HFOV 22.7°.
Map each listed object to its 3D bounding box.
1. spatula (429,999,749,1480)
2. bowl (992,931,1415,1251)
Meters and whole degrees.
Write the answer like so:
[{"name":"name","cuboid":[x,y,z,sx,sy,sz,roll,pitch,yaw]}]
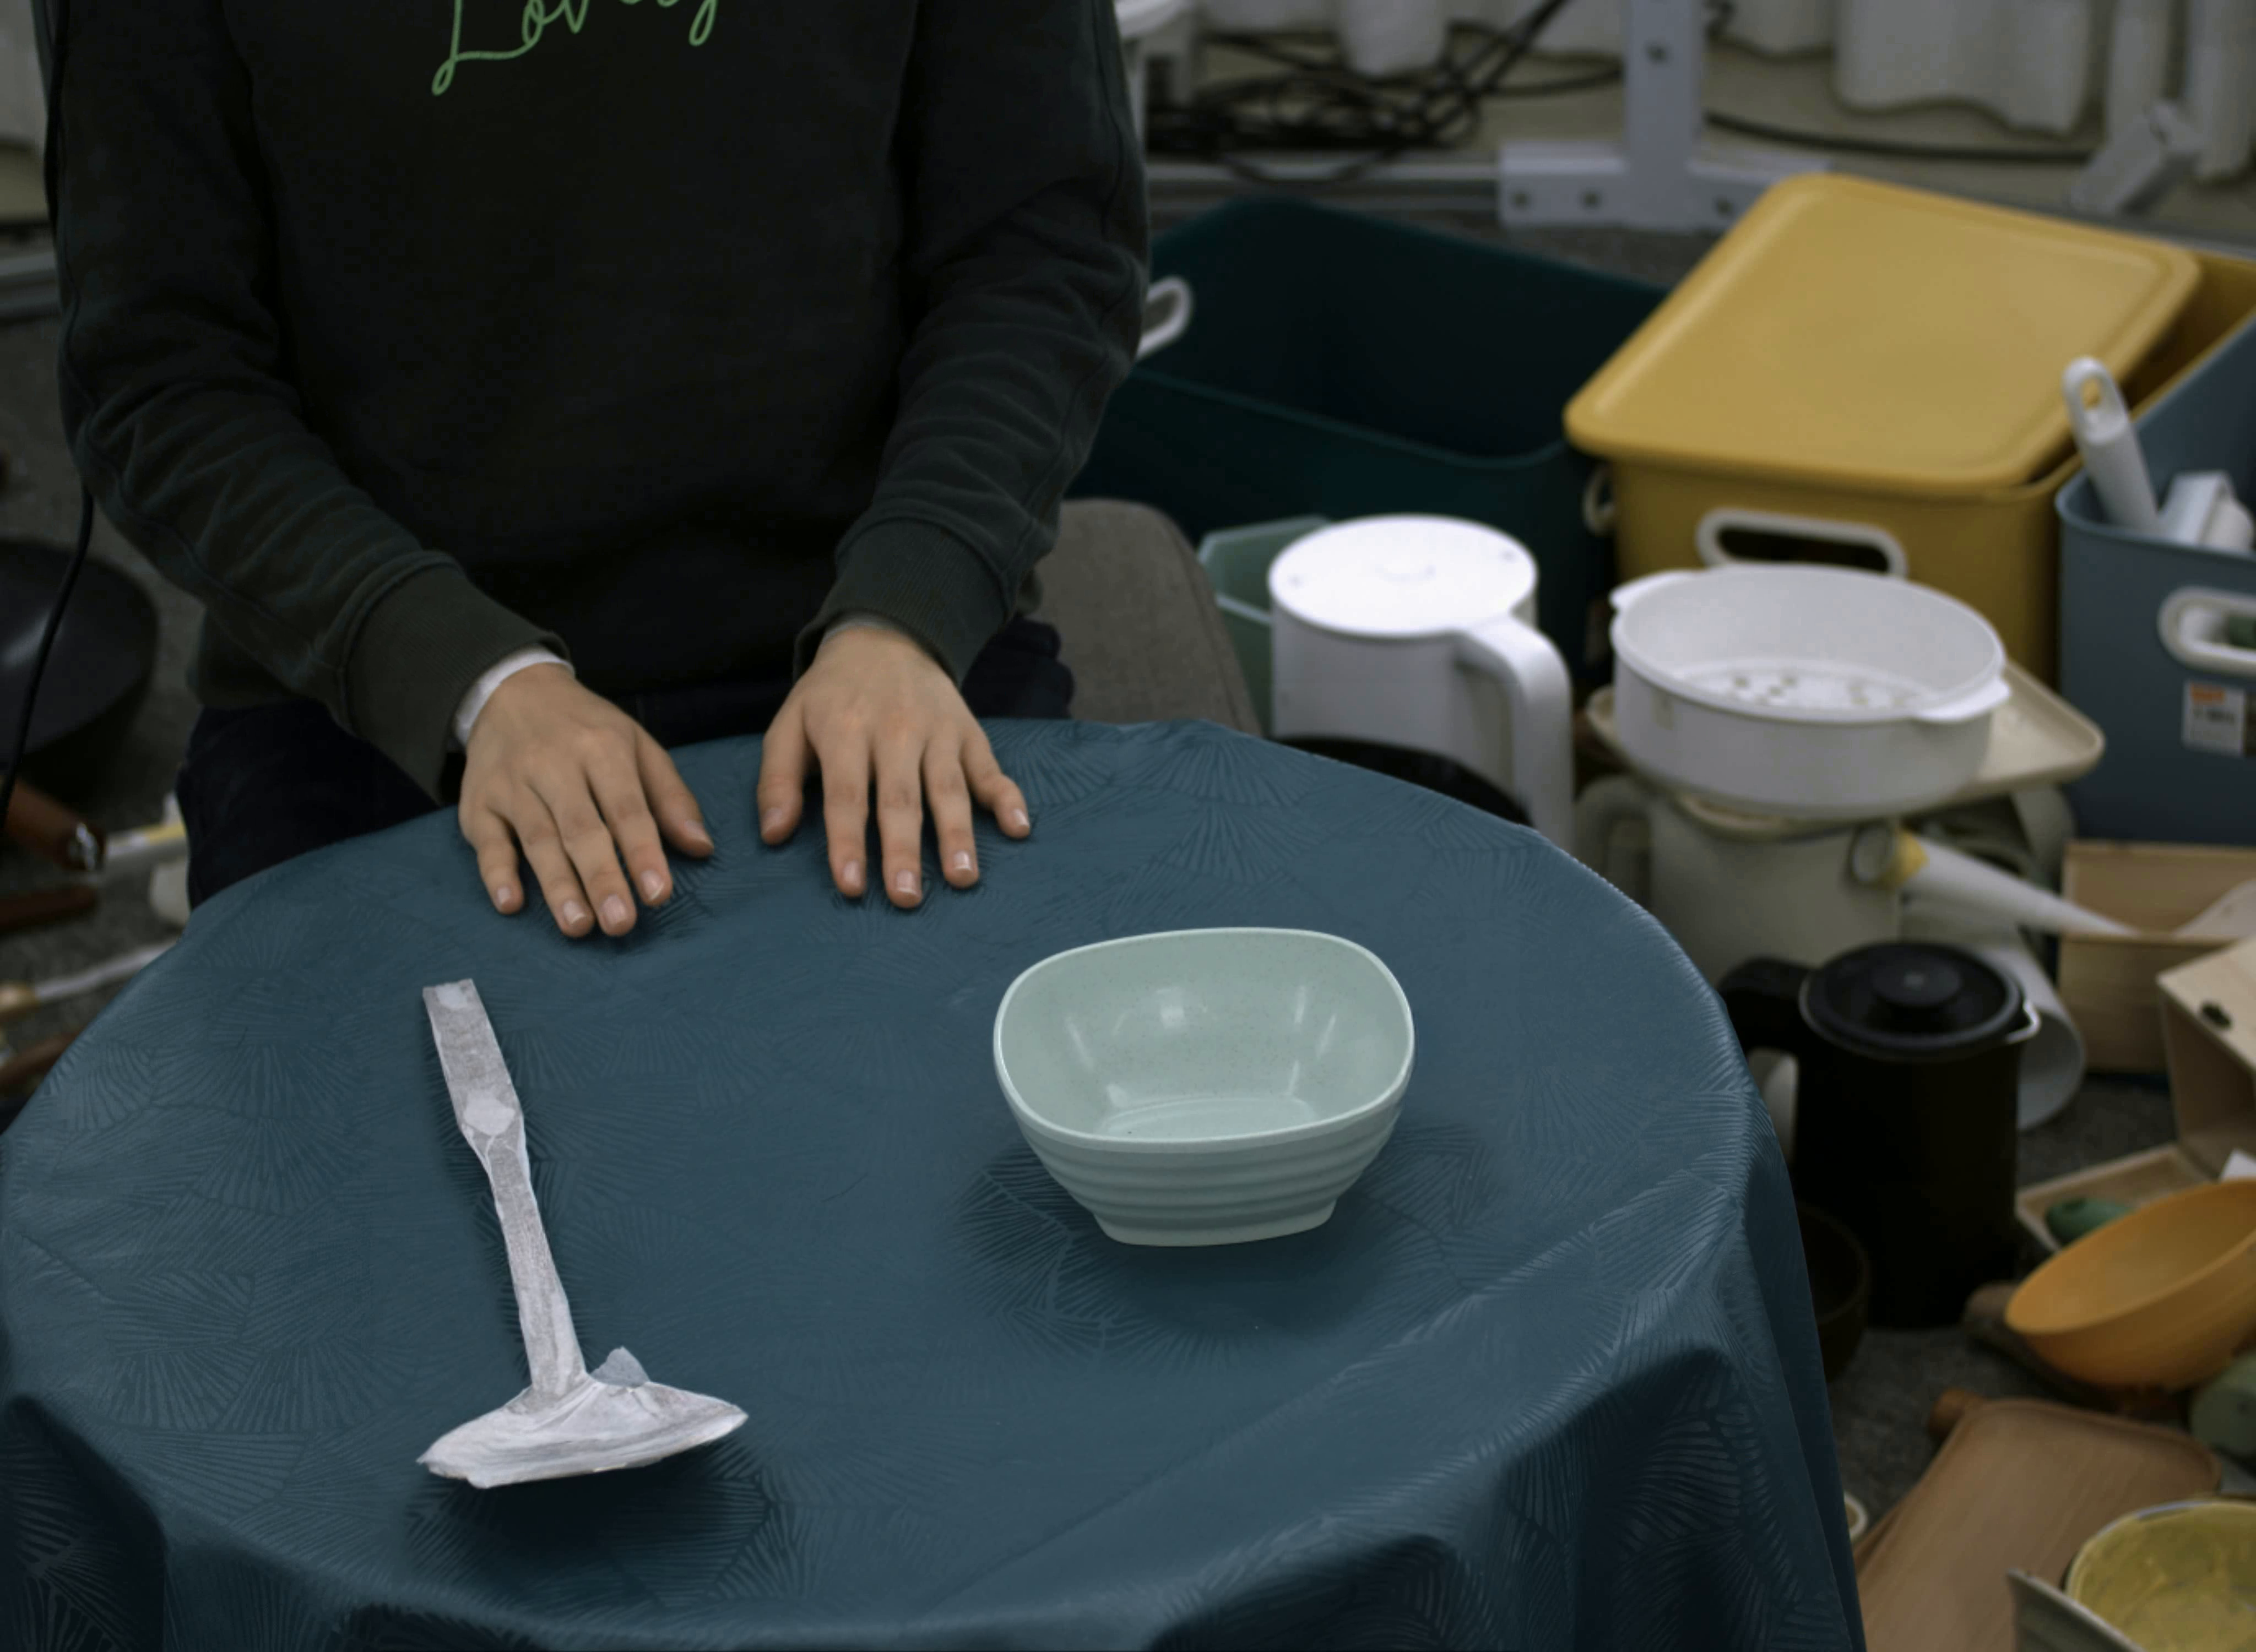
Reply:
[{"name":"spatula","cuboid":[-0.194,0.126,1.829,0.098,0.044,0.369,-10,28,-9]},{"name":"bowl","cuboid":[0.025,0.093,1.855,0.151,0.058,0.154,0,28,0]}]
